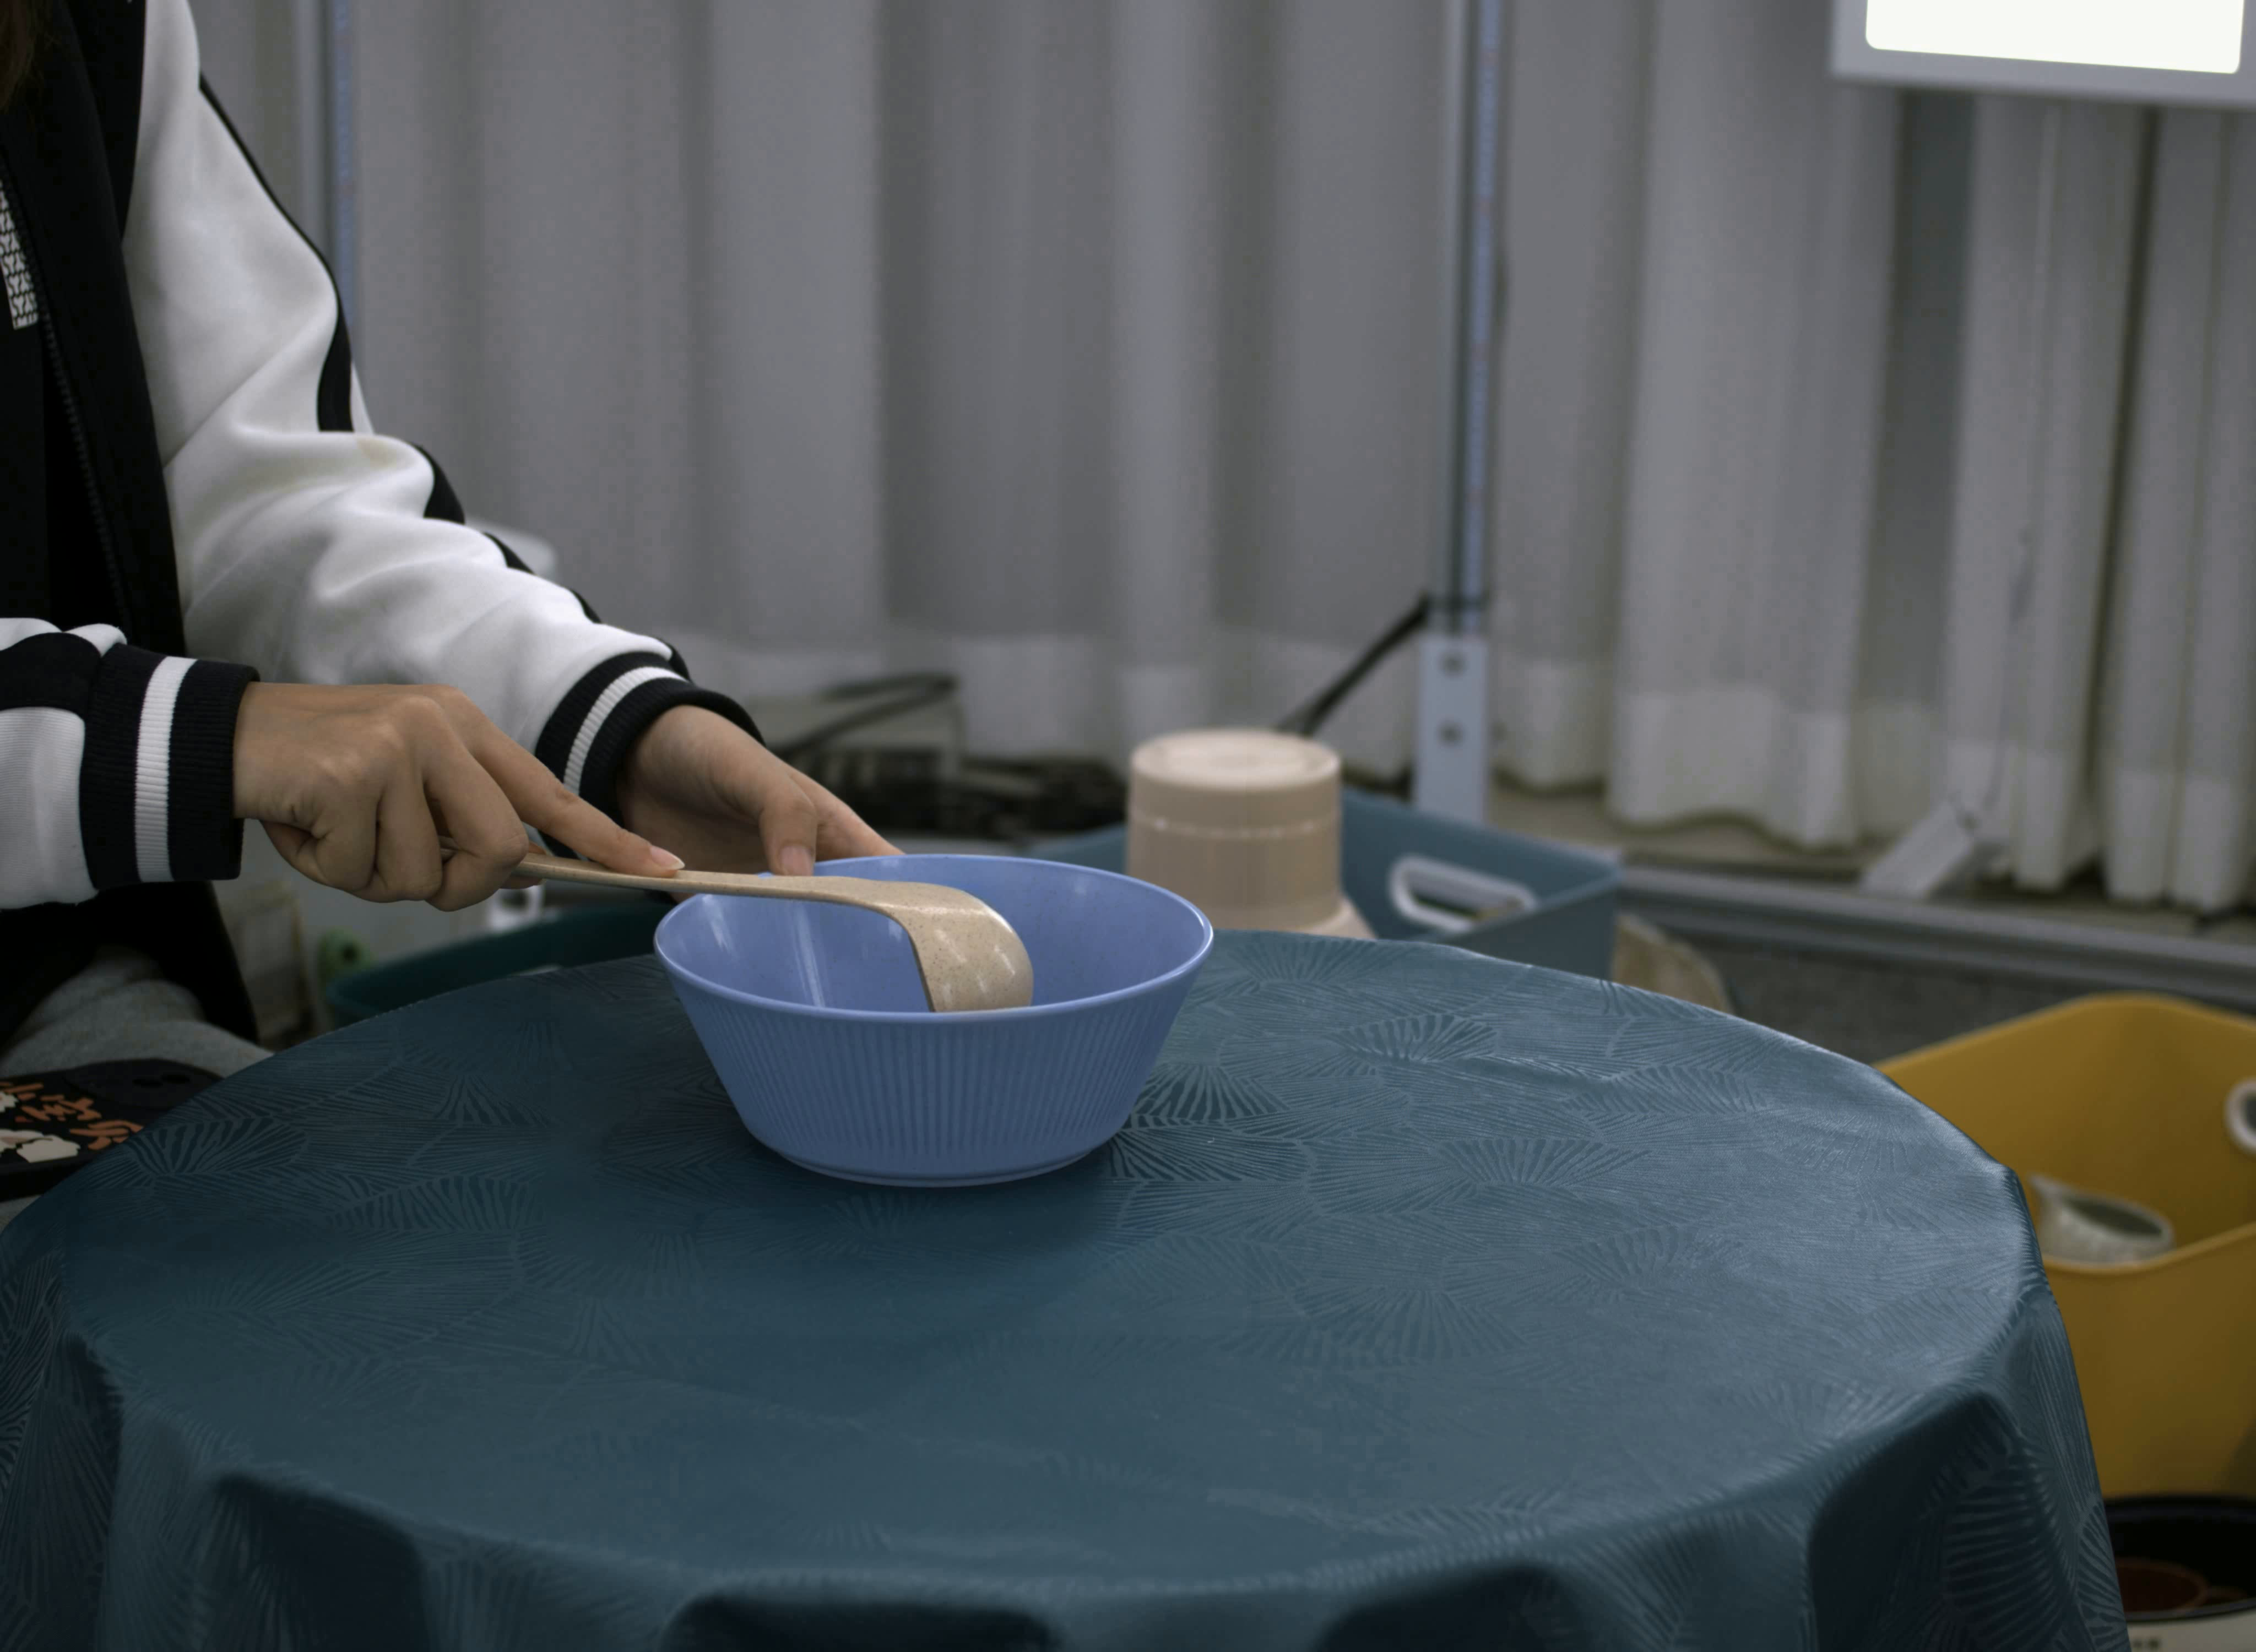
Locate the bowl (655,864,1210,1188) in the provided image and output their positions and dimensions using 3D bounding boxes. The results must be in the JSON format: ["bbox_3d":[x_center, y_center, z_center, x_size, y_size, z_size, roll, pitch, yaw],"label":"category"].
[{"bbox_3d":[-0.062,0.065,1.661,0.175,0.071,0.175,1,15,0],"label":"bowl"}]

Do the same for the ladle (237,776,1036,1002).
[{"bbox_3d":[-0.156,0.040,1.638,0.255,0.073,0.071,9,16,-11],"label":"ladle"}]
